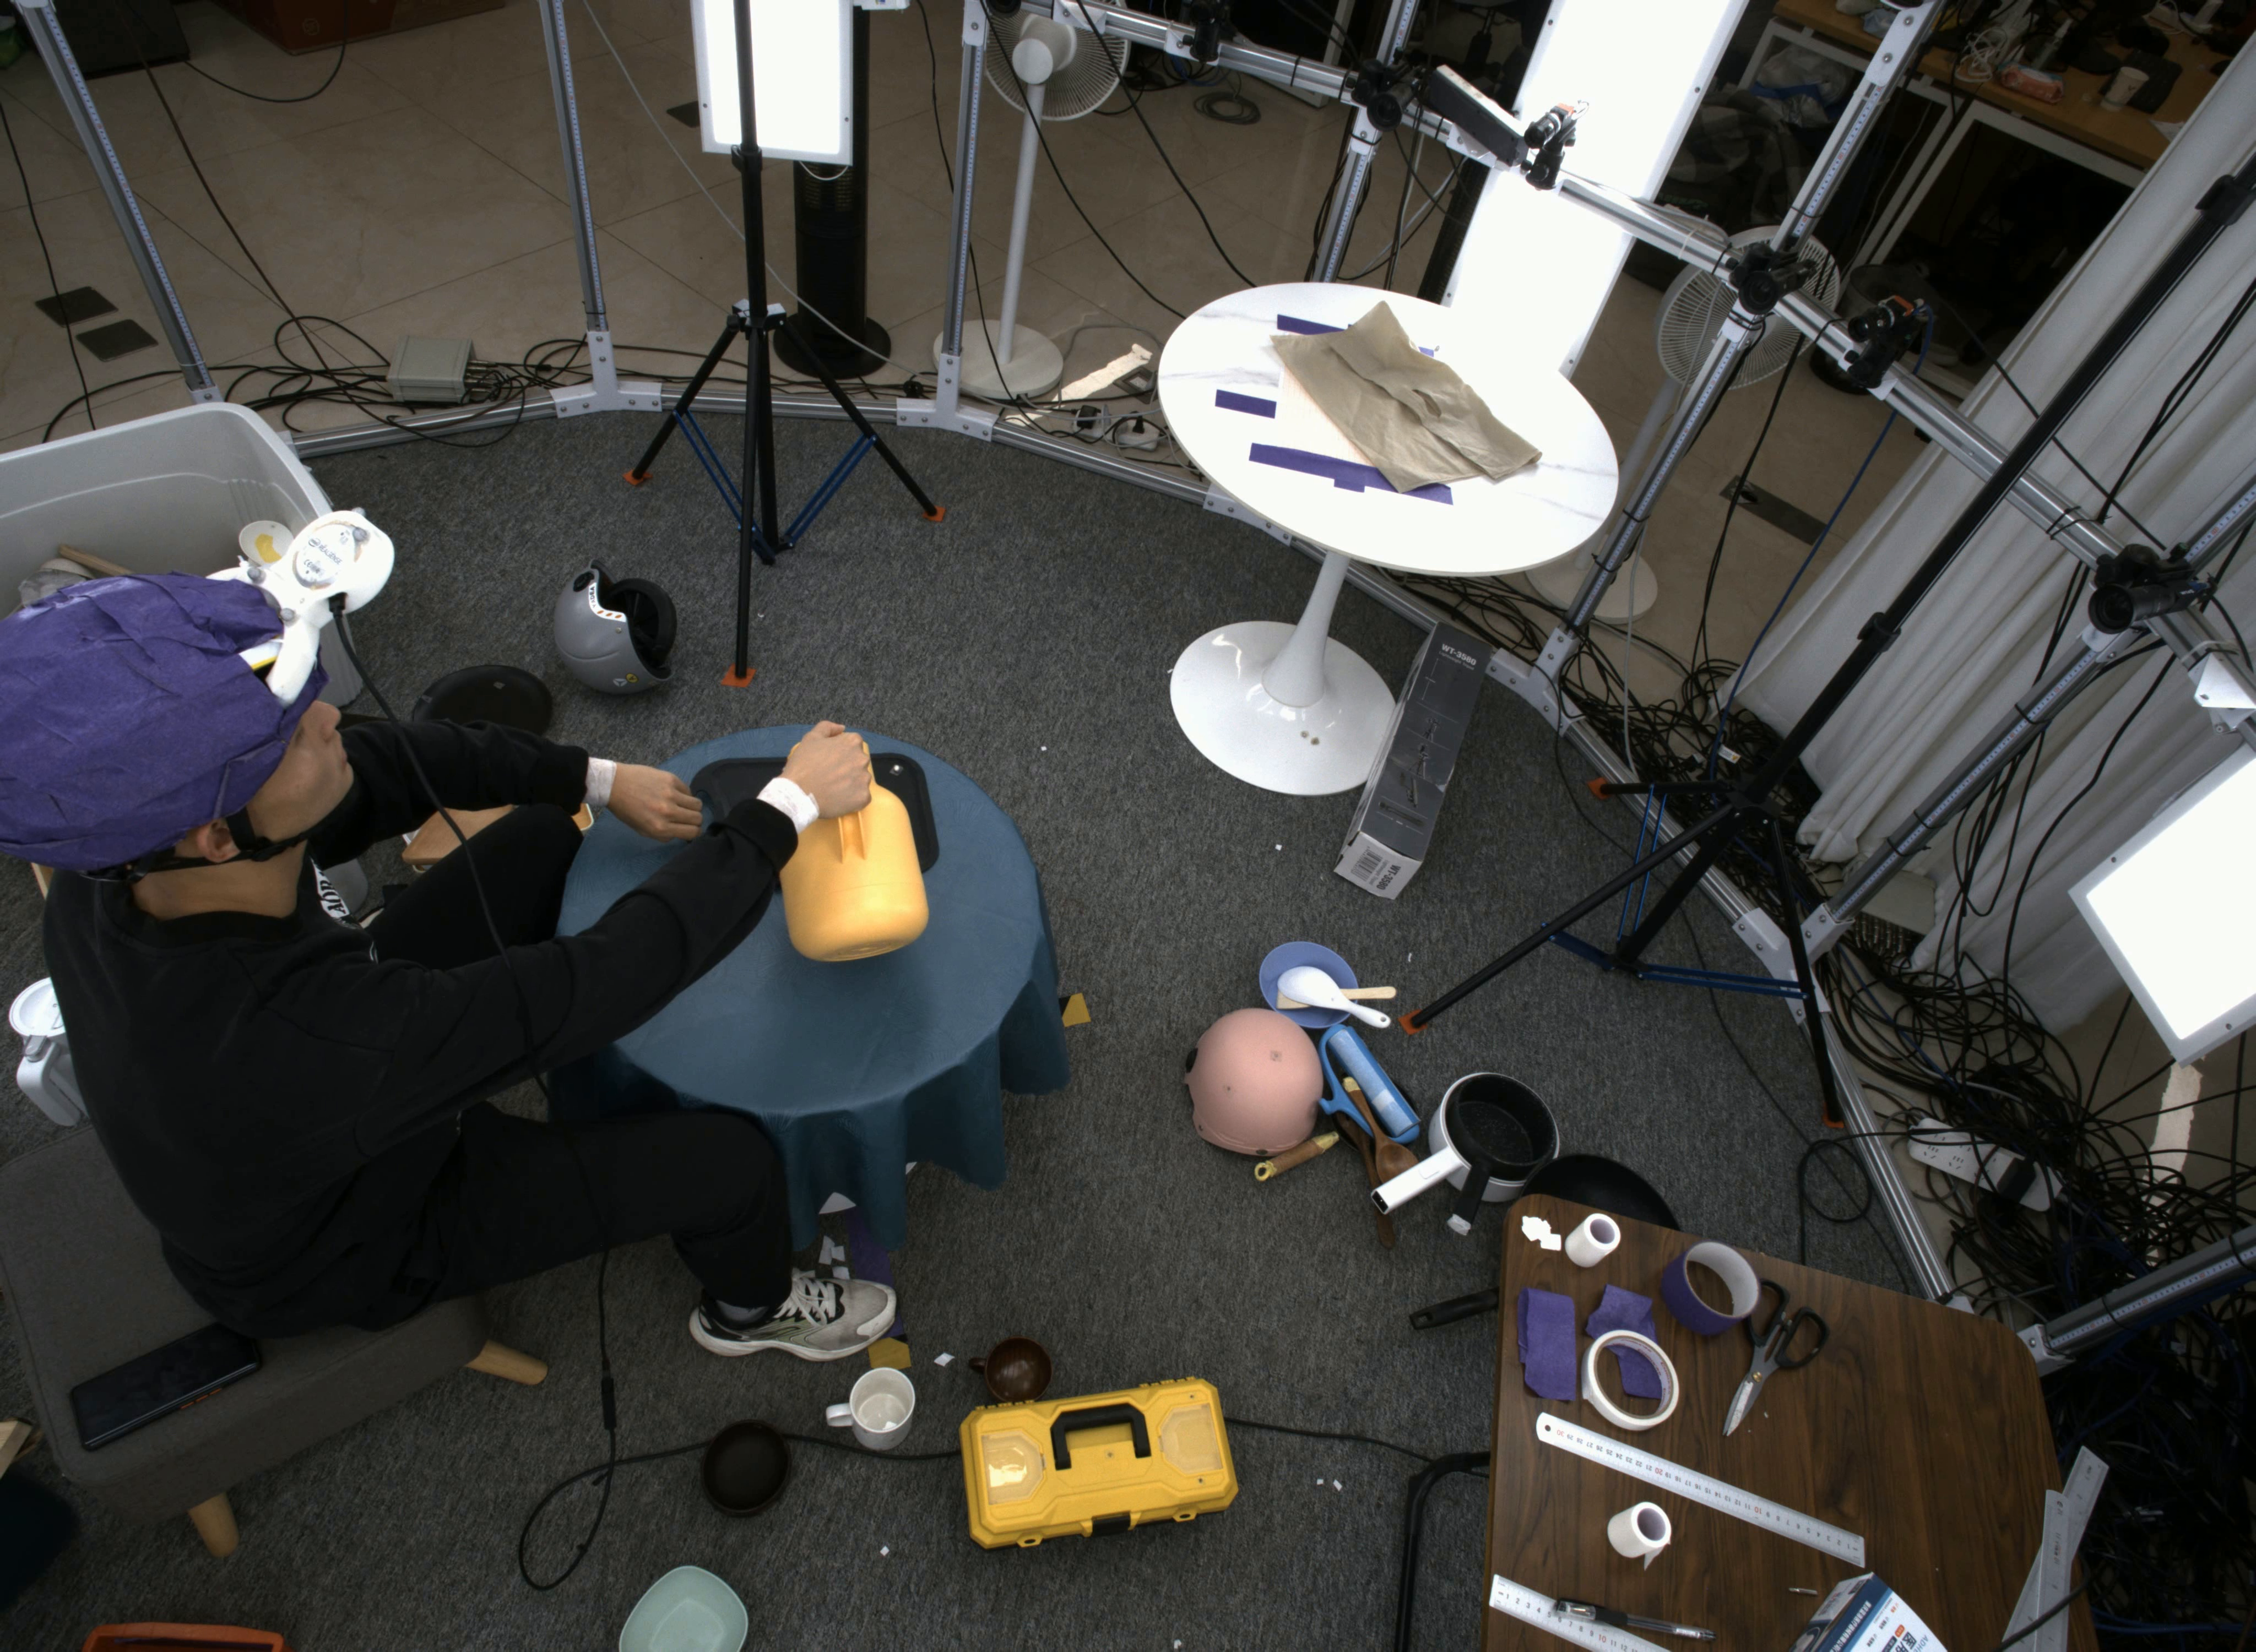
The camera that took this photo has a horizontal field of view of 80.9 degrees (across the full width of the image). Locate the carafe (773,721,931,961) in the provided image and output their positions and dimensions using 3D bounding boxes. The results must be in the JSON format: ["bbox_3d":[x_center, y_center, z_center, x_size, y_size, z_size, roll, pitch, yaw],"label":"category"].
[{"bbox_3d":[-0.331,0.011,1.508,0.163,0.203,0.260,-14,79,-15],"label":"carafe"}]

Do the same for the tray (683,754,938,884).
[{"bbox_3d":[-0.420,-0.015,1.716,0.327,0.010,0.206,-2,54,-21],"label":"tray"}]
